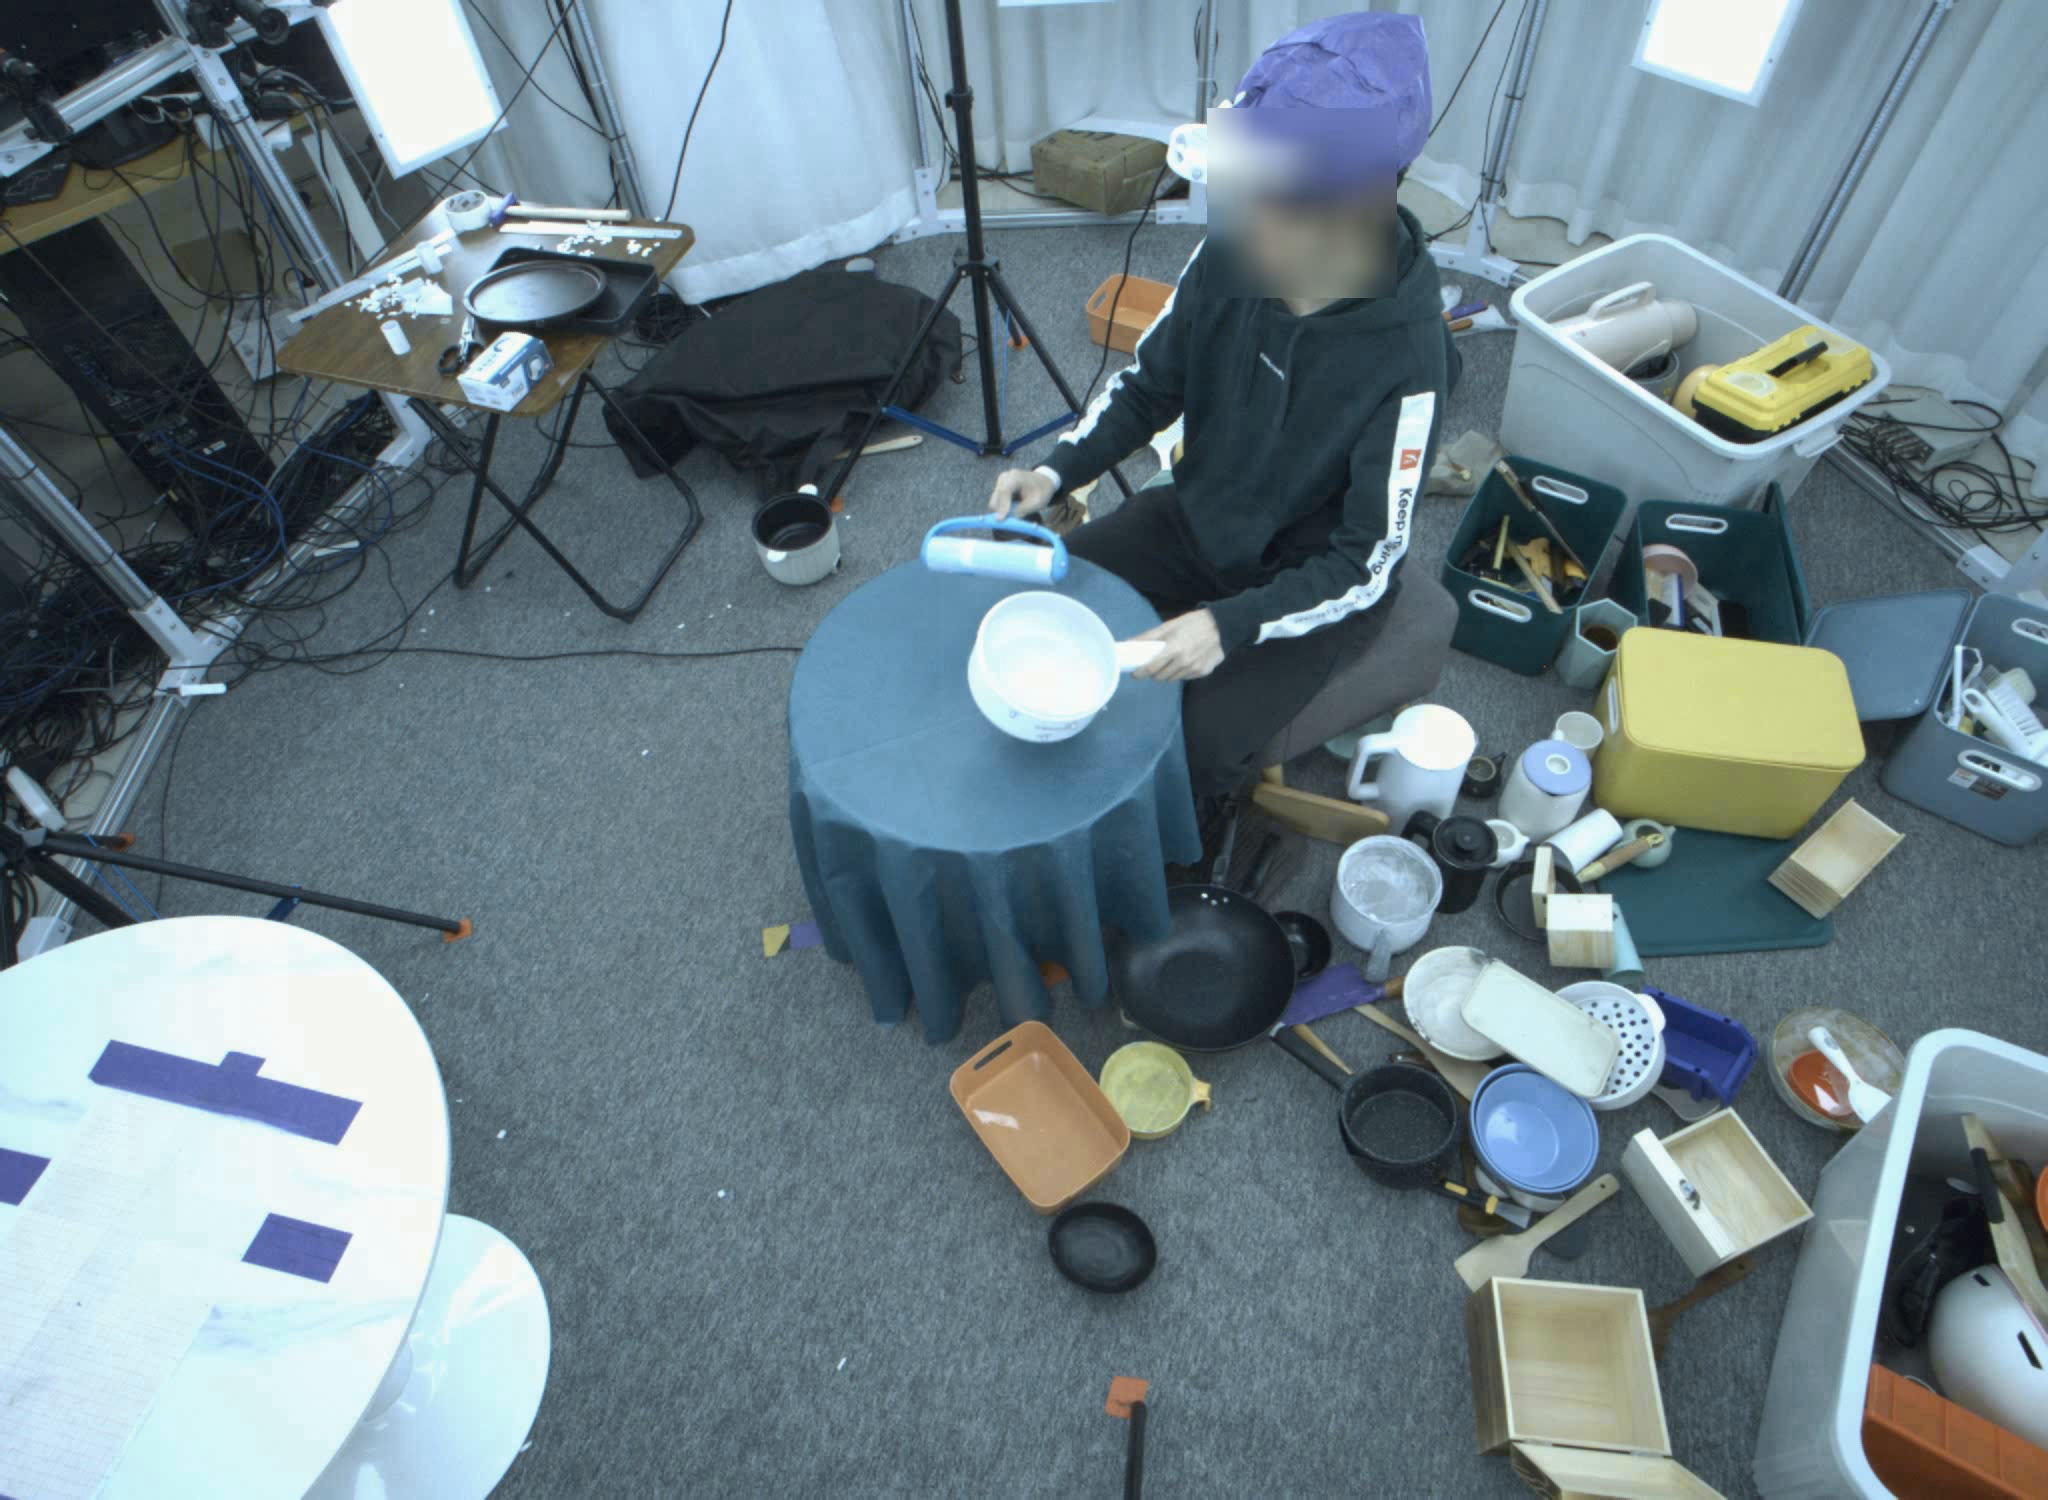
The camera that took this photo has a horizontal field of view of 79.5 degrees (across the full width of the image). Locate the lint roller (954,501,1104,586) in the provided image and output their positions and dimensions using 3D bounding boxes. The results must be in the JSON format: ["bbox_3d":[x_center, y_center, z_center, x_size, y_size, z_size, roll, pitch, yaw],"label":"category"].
[{"bbox_3d":[0.020,-0.324,1.816,0.226,0.069,0.179,7,56,15],"label":"lint roller"}]

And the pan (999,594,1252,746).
[{"bbox_3d":[0.138,-0.106,1.714,0.360,0.101,0.199,-1,65,-21],"label":"pan"}]
